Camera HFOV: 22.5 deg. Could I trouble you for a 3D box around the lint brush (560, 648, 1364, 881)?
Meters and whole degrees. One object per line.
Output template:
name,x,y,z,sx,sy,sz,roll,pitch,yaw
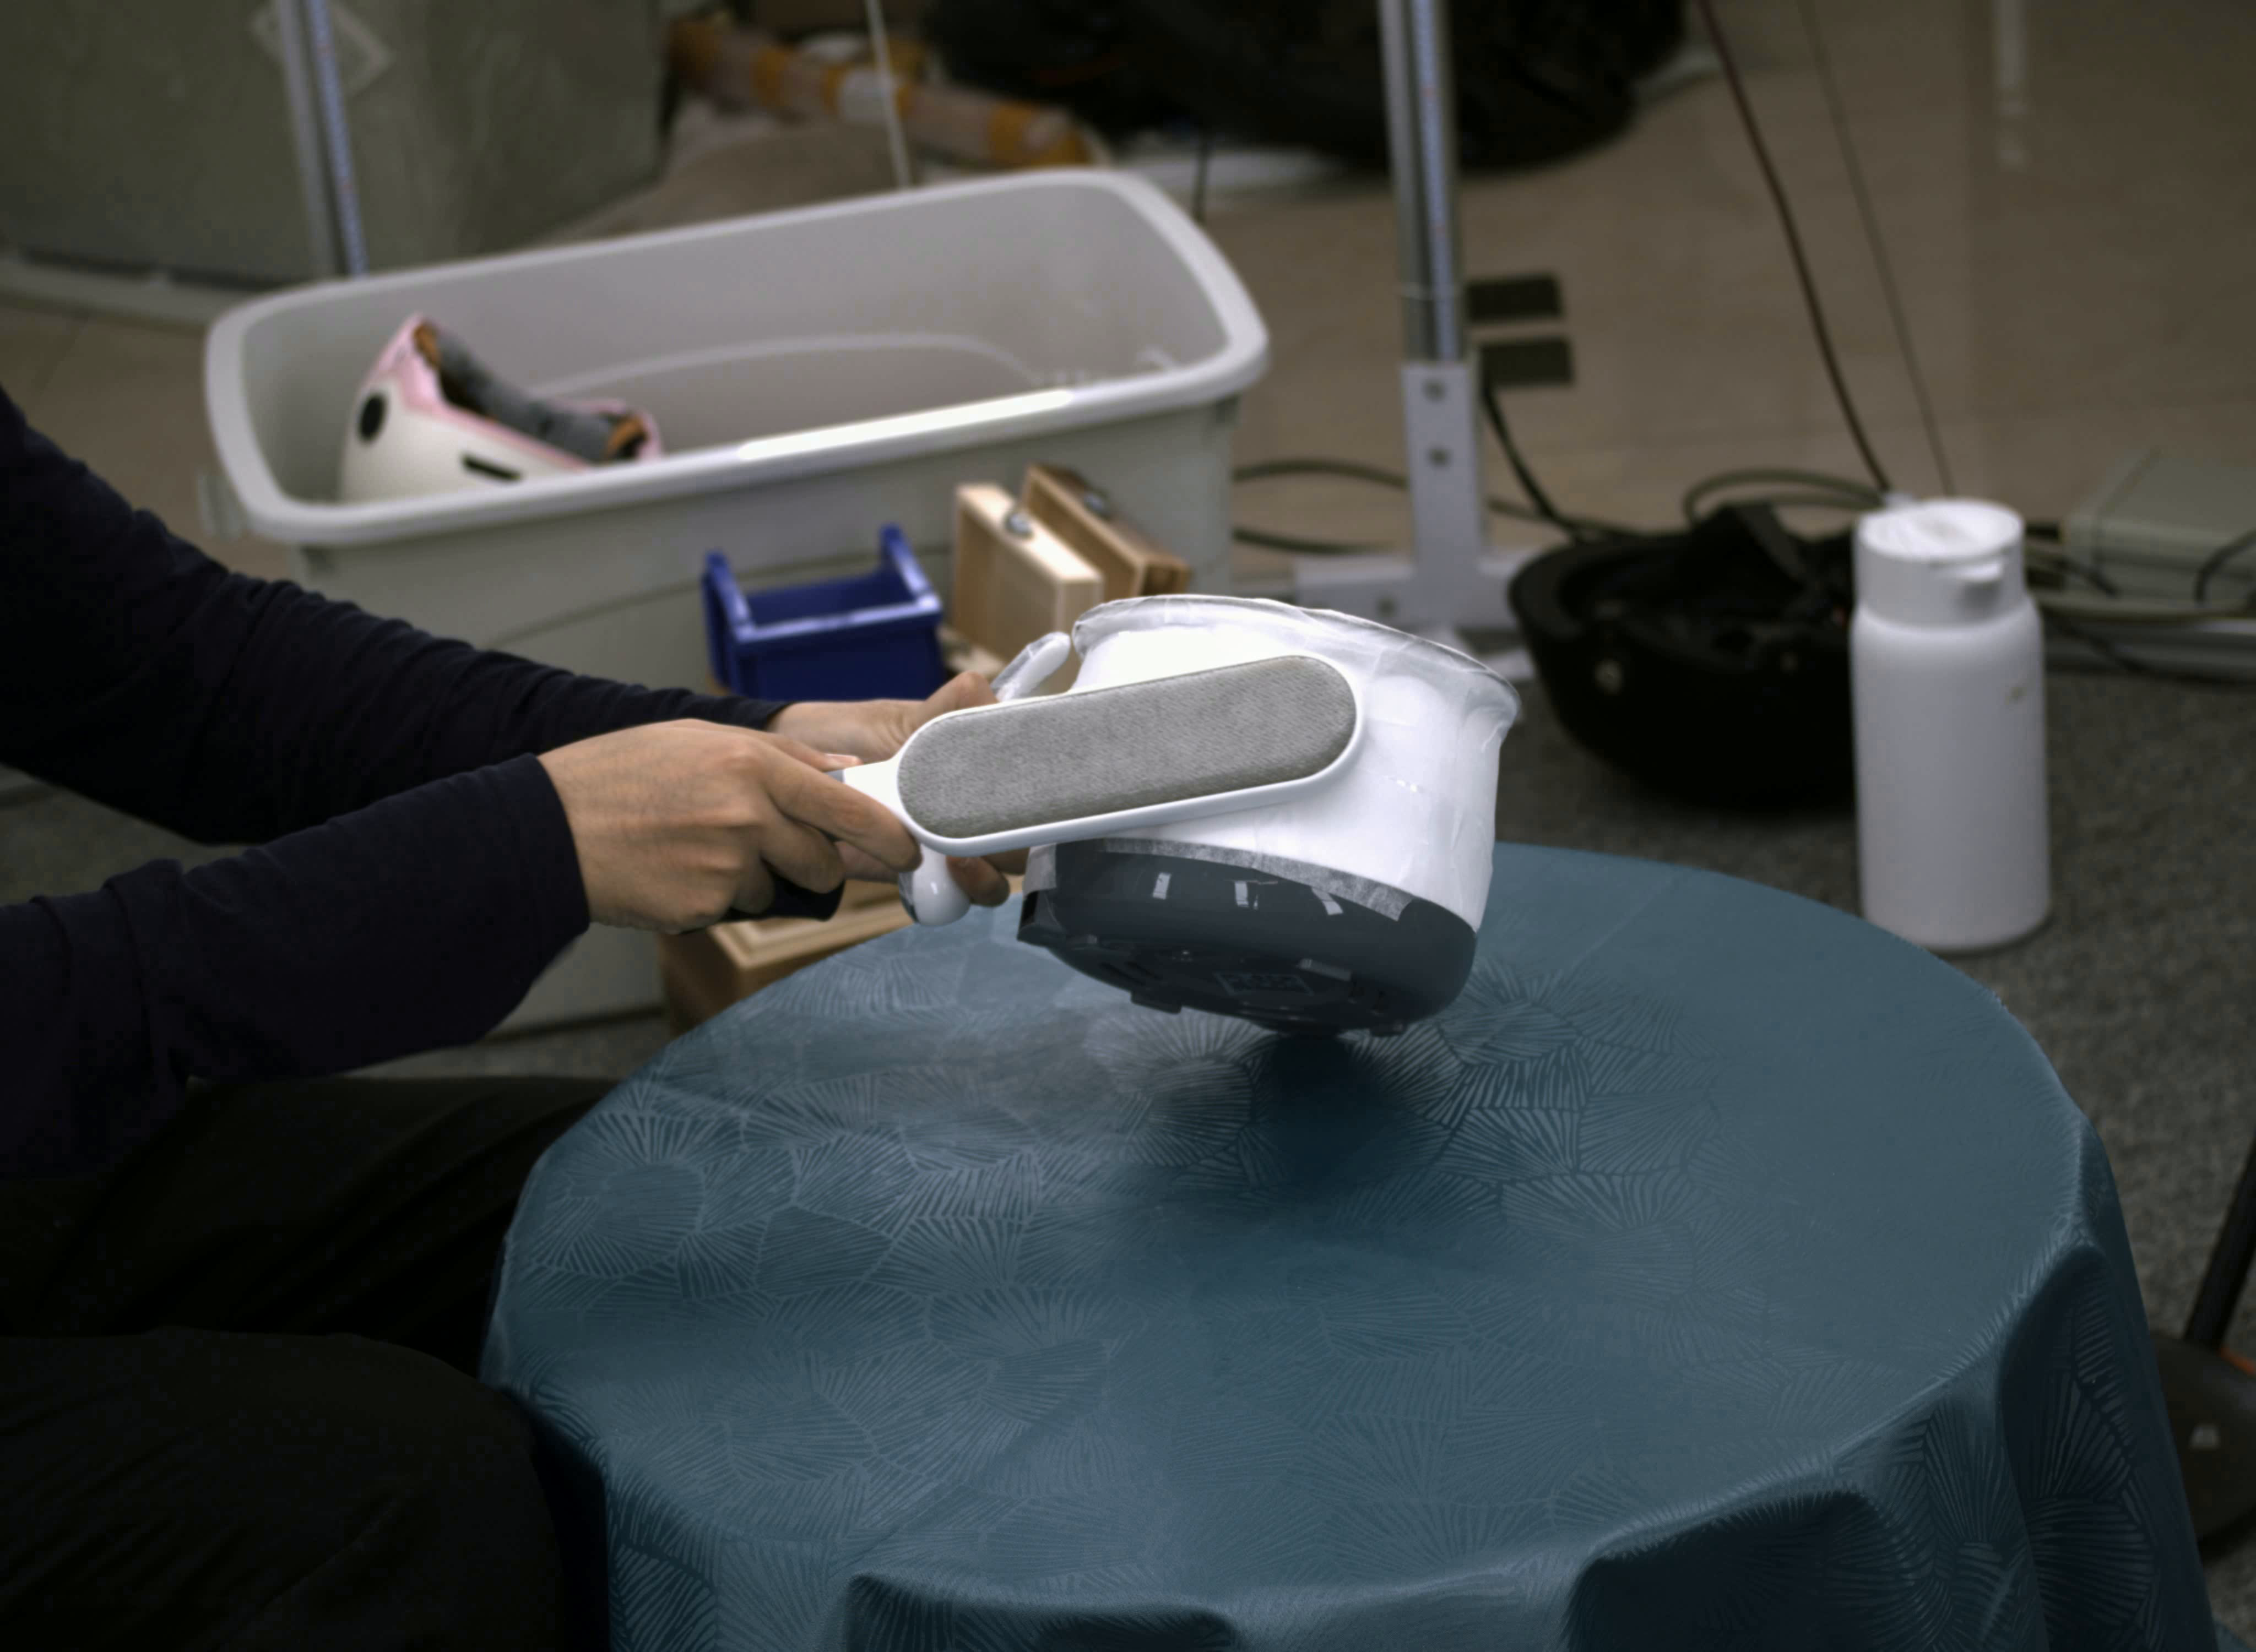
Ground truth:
lint brush,-0.063,-0.018,2.110,0.308,0.059,0.021,-10,-17,8

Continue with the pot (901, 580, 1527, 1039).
pot,0.029,-0.007,2.197,0.233,0.135,0.180,8,-15,18
